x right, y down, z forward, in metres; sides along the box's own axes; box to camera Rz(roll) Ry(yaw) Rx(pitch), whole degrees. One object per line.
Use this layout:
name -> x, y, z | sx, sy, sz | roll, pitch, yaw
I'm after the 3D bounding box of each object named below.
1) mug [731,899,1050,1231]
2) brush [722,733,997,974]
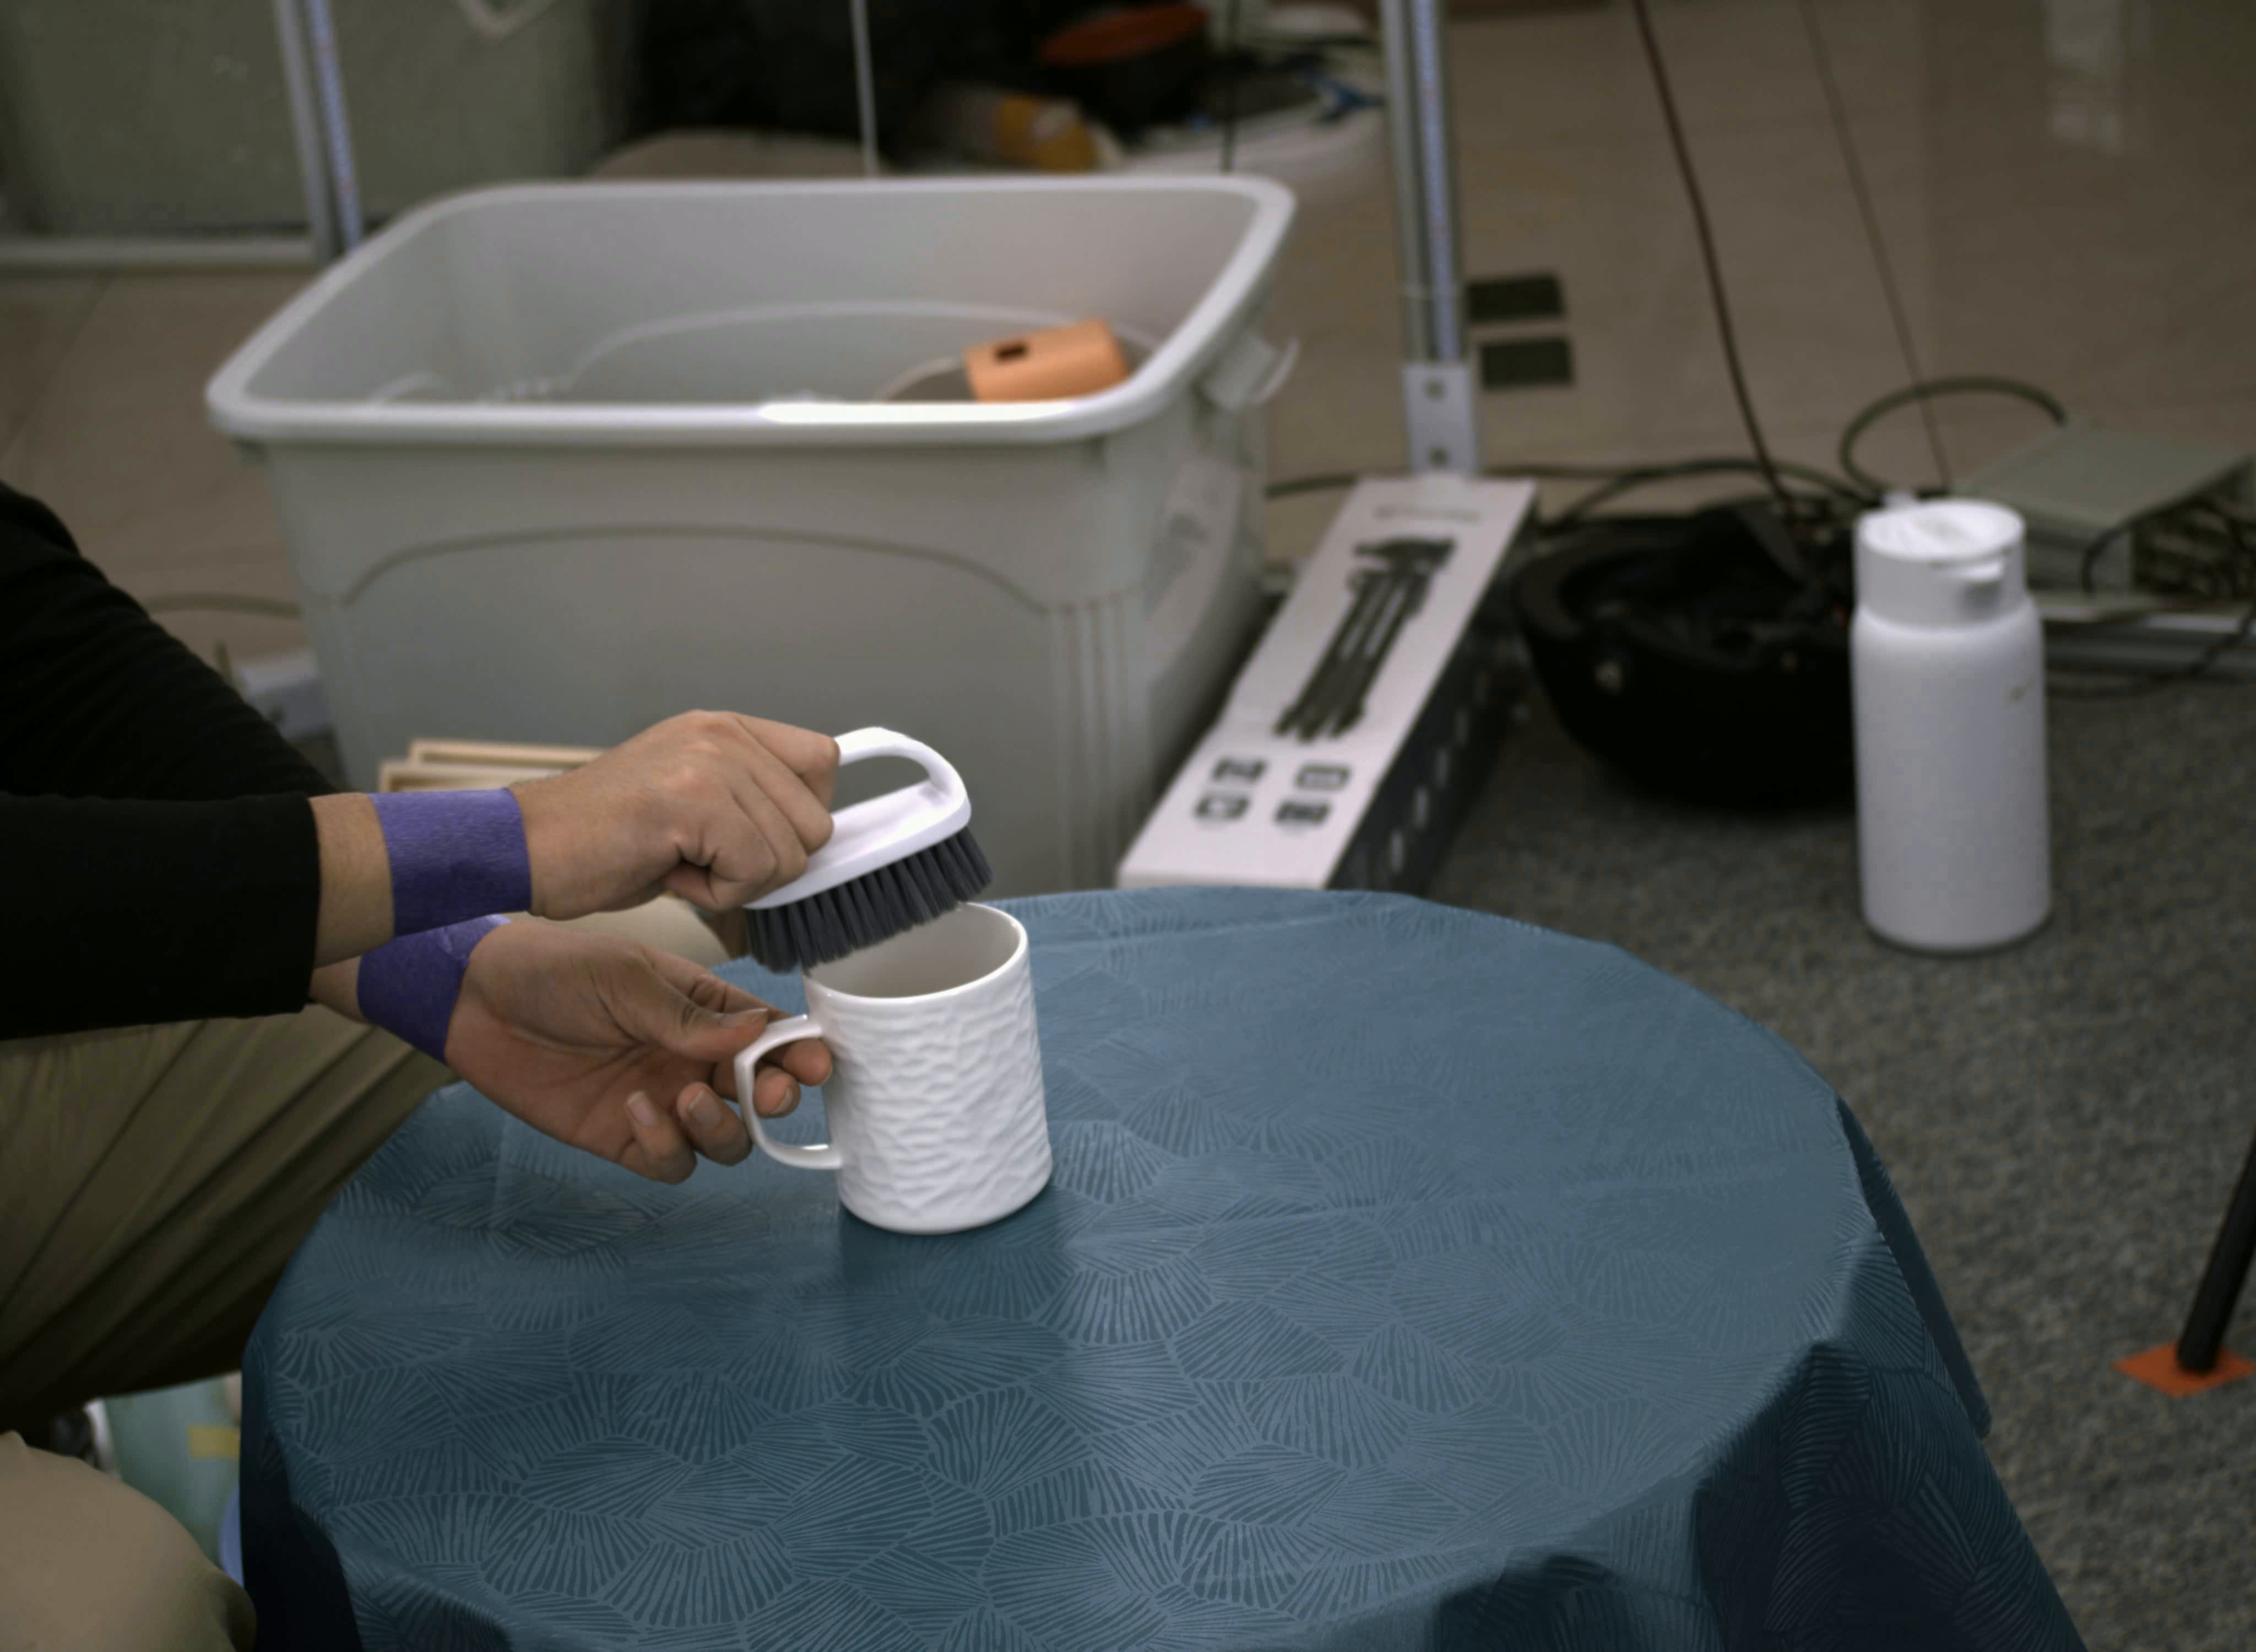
mug -> -0.090, 0.094, 2.138 | 0.118, 0.103, 0.084 | -15, 27, -17
brush -> -0.105, 0.004, 2.119 | 0.099, 0.073, 0.050 | -21, 22, -13
